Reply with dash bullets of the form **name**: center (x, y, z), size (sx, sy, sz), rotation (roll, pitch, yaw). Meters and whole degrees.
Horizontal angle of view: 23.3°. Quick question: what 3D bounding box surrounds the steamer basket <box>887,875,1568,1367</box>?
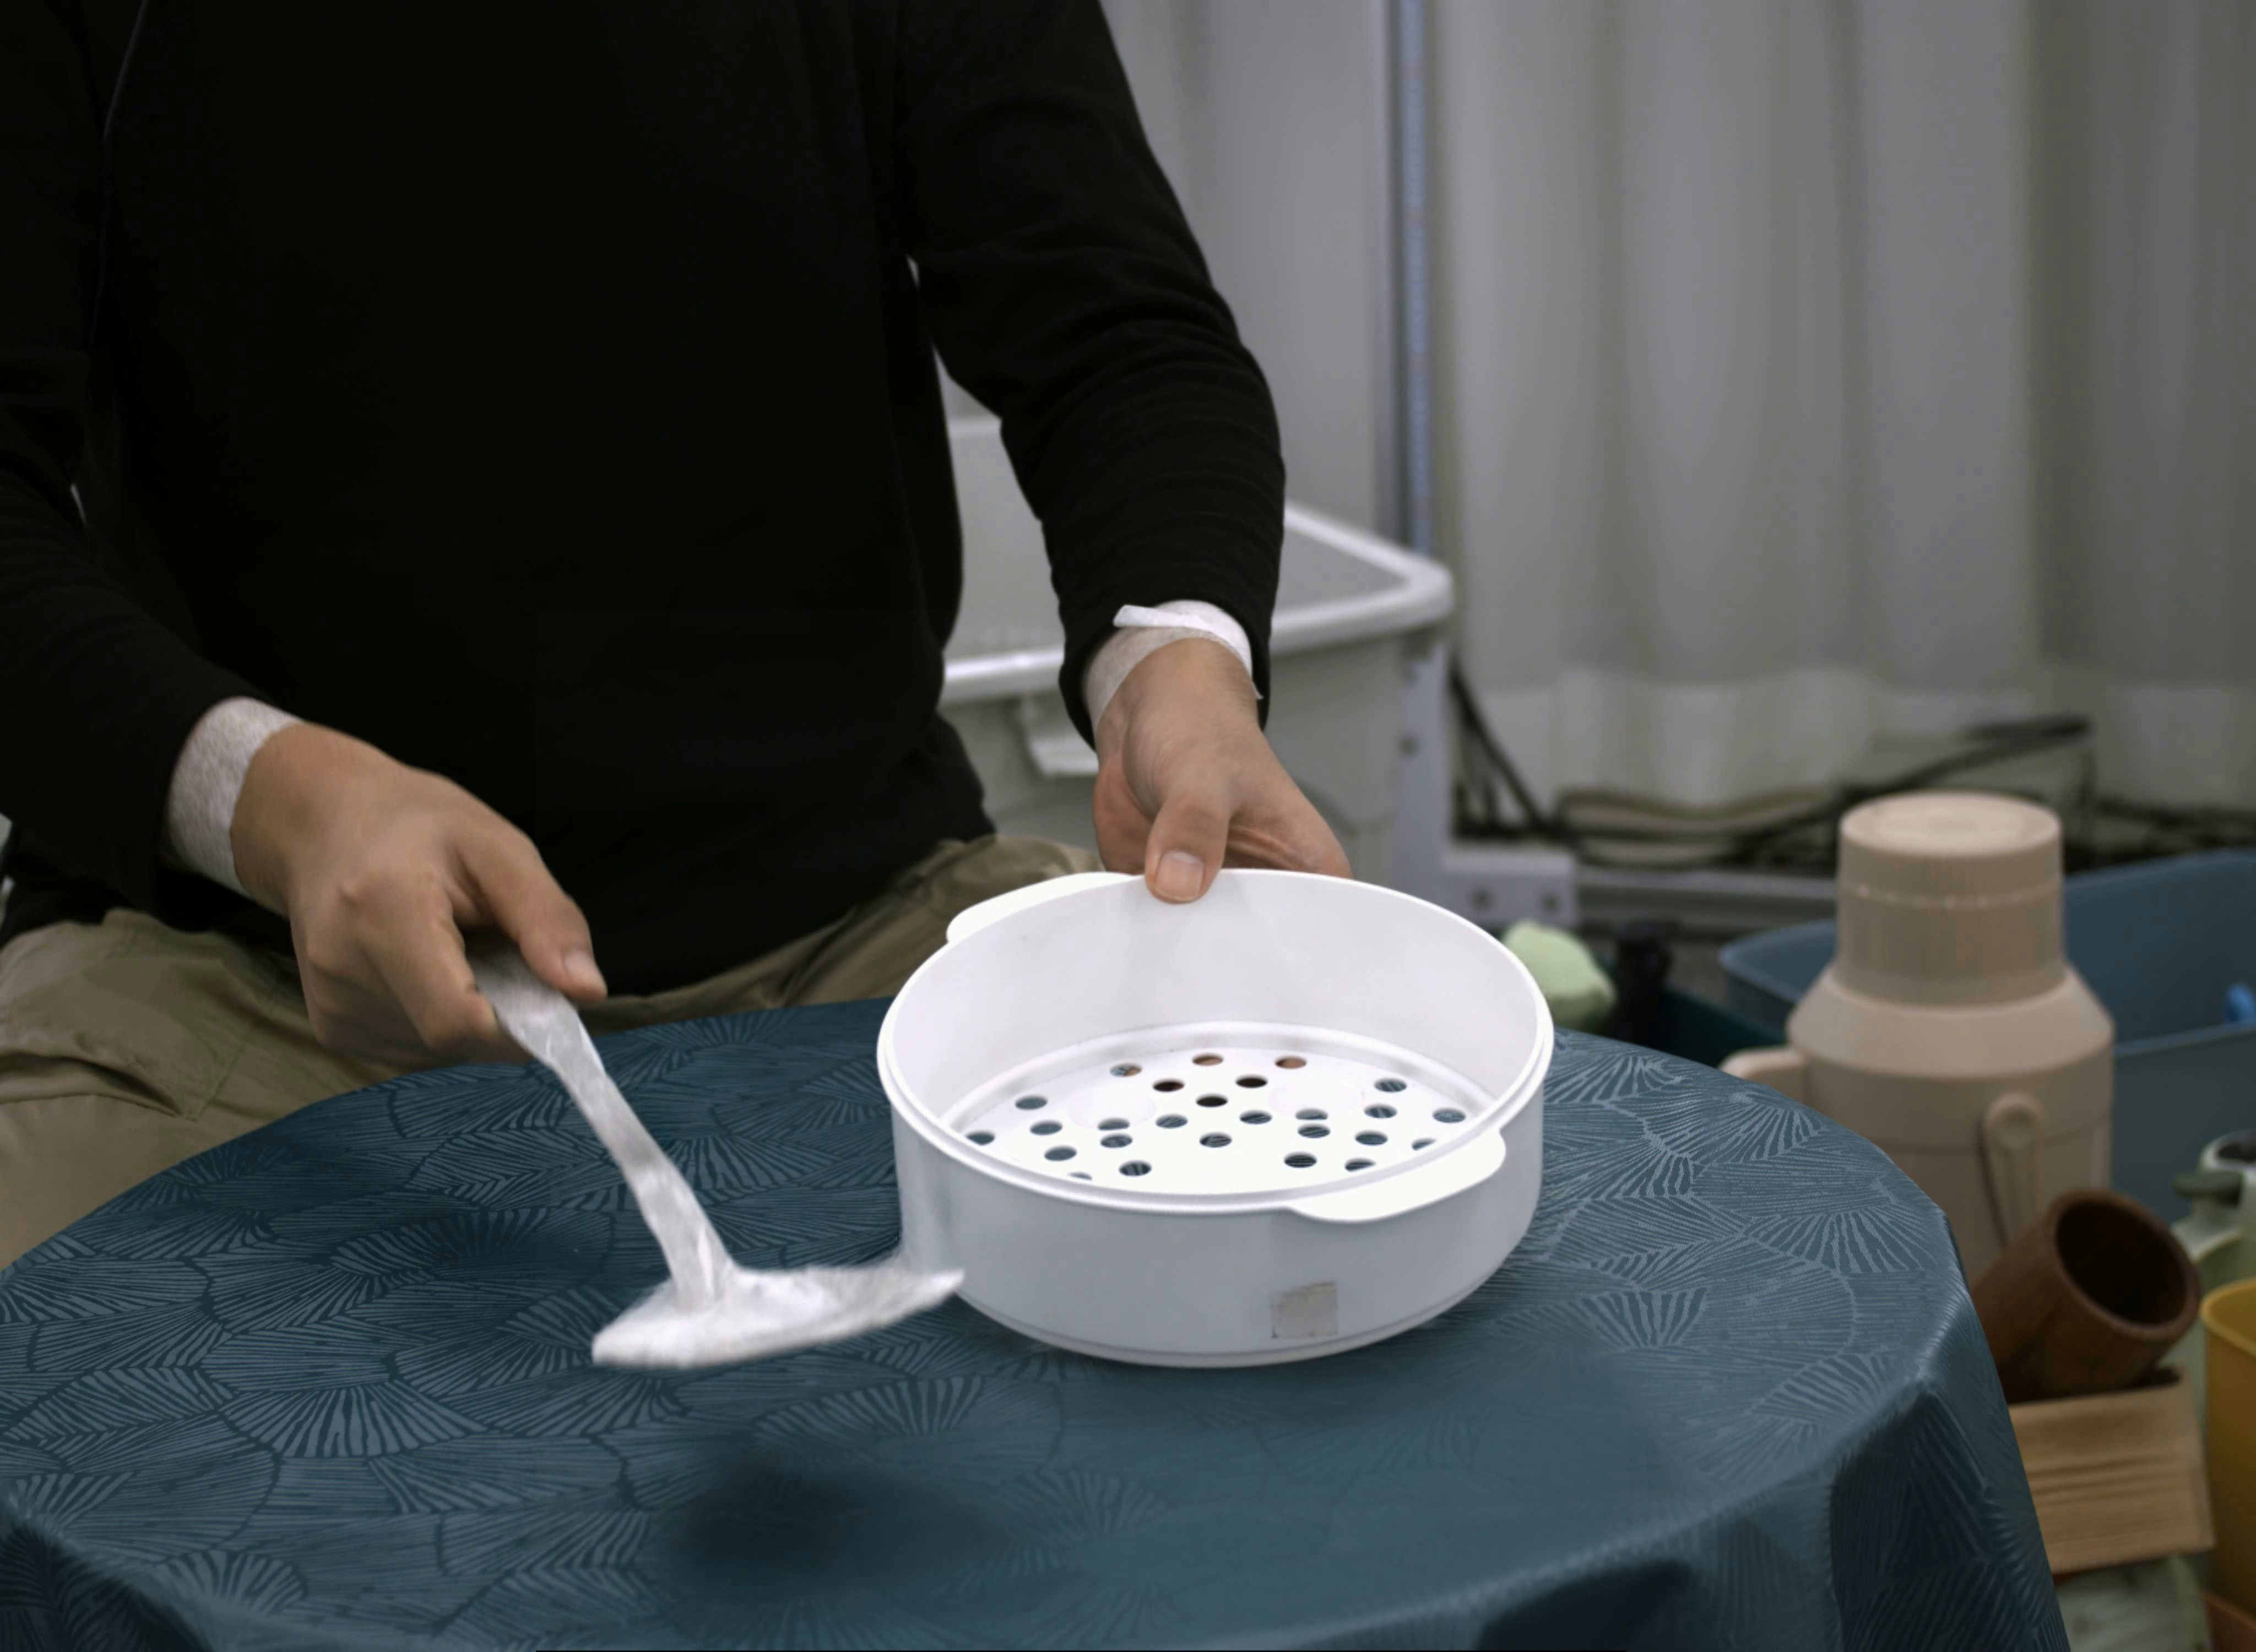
- **steamer basket**: center (0.030, 0.087, 1.623), size (0.201, 0.068, 0.233), rotation (-16, 29, -27)

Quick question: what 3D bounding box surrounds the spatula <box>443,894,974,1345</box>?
- **spatula**: center (-0.145, 0.075, 1.570), size (0.098, 0.044, 0.369), rotation (-13, 27, -18)
